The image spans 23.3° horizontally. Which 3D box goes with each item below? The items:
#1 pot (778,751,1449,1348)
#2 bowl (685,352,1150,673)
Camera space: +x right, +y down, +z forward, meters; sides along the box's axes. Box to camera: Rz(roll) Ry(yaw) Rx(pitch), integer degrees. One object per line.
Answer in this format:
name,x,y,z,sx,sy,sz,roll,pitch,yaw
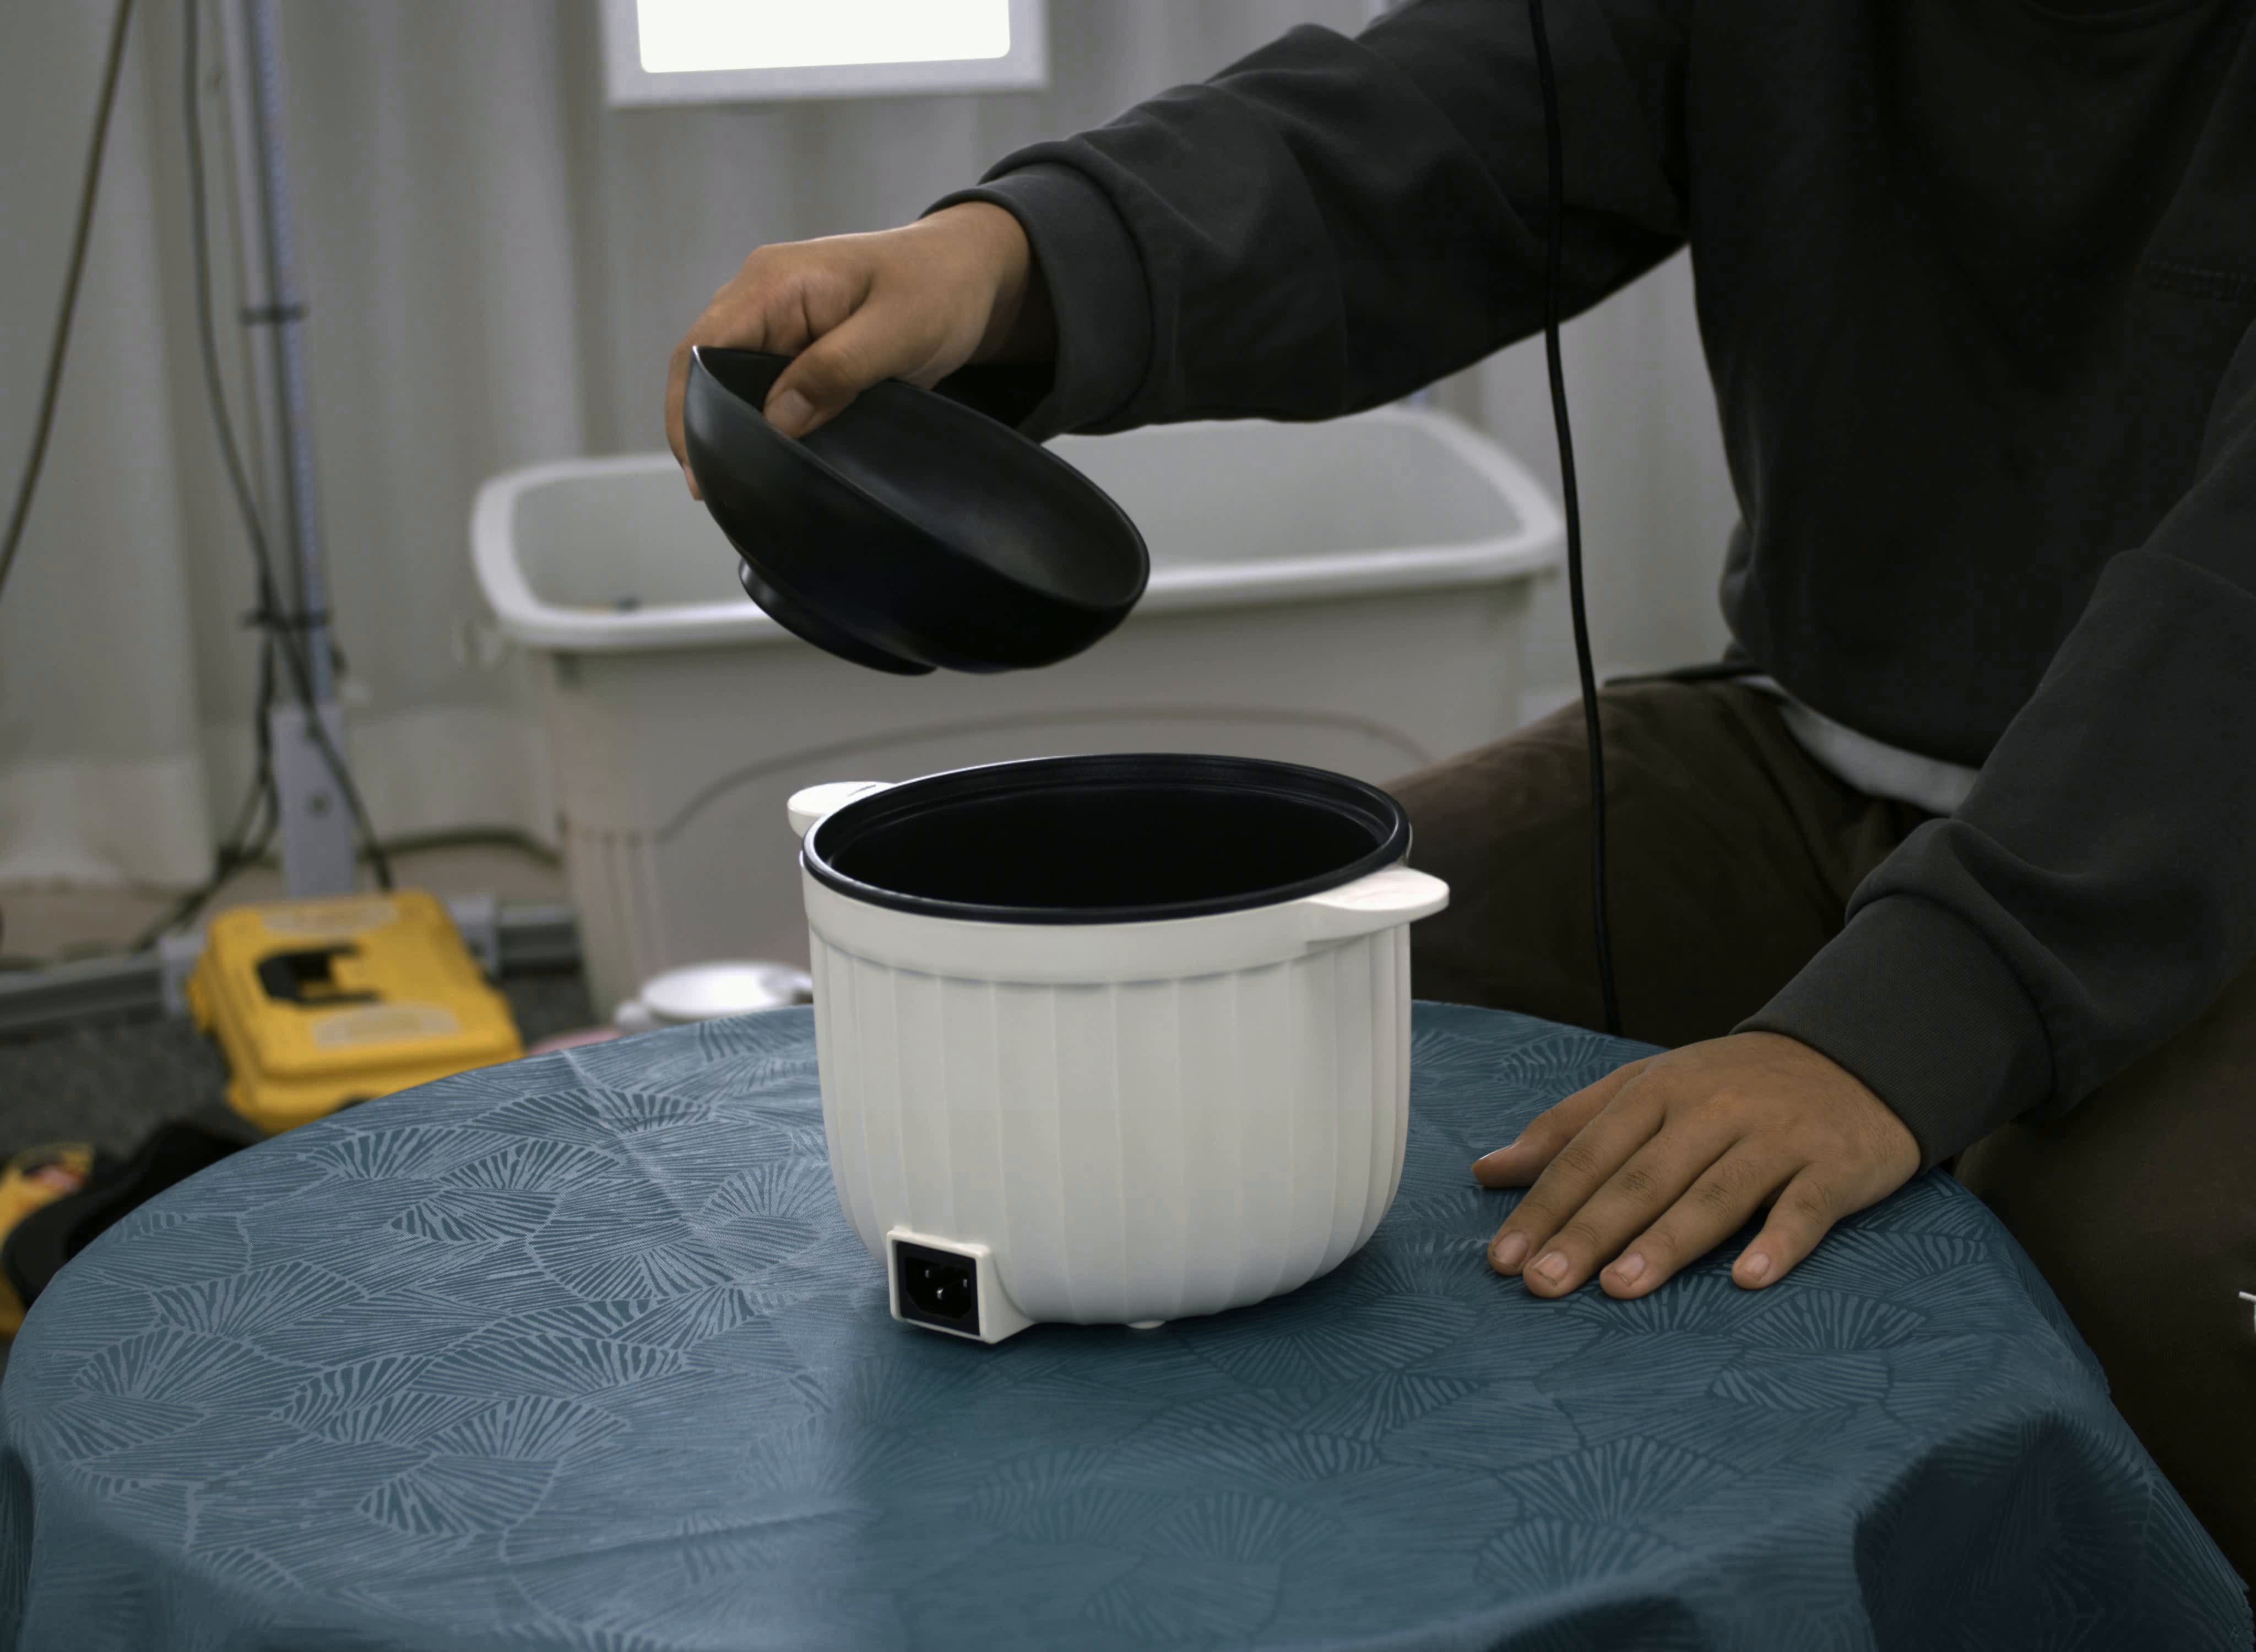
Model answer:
pot,-0.003,0.064,1.643,0.241,0.142,0.190,10,22,36
bowl,-0.075,-0.090,1.679,0.172,0.066,0.136,37,21,33
